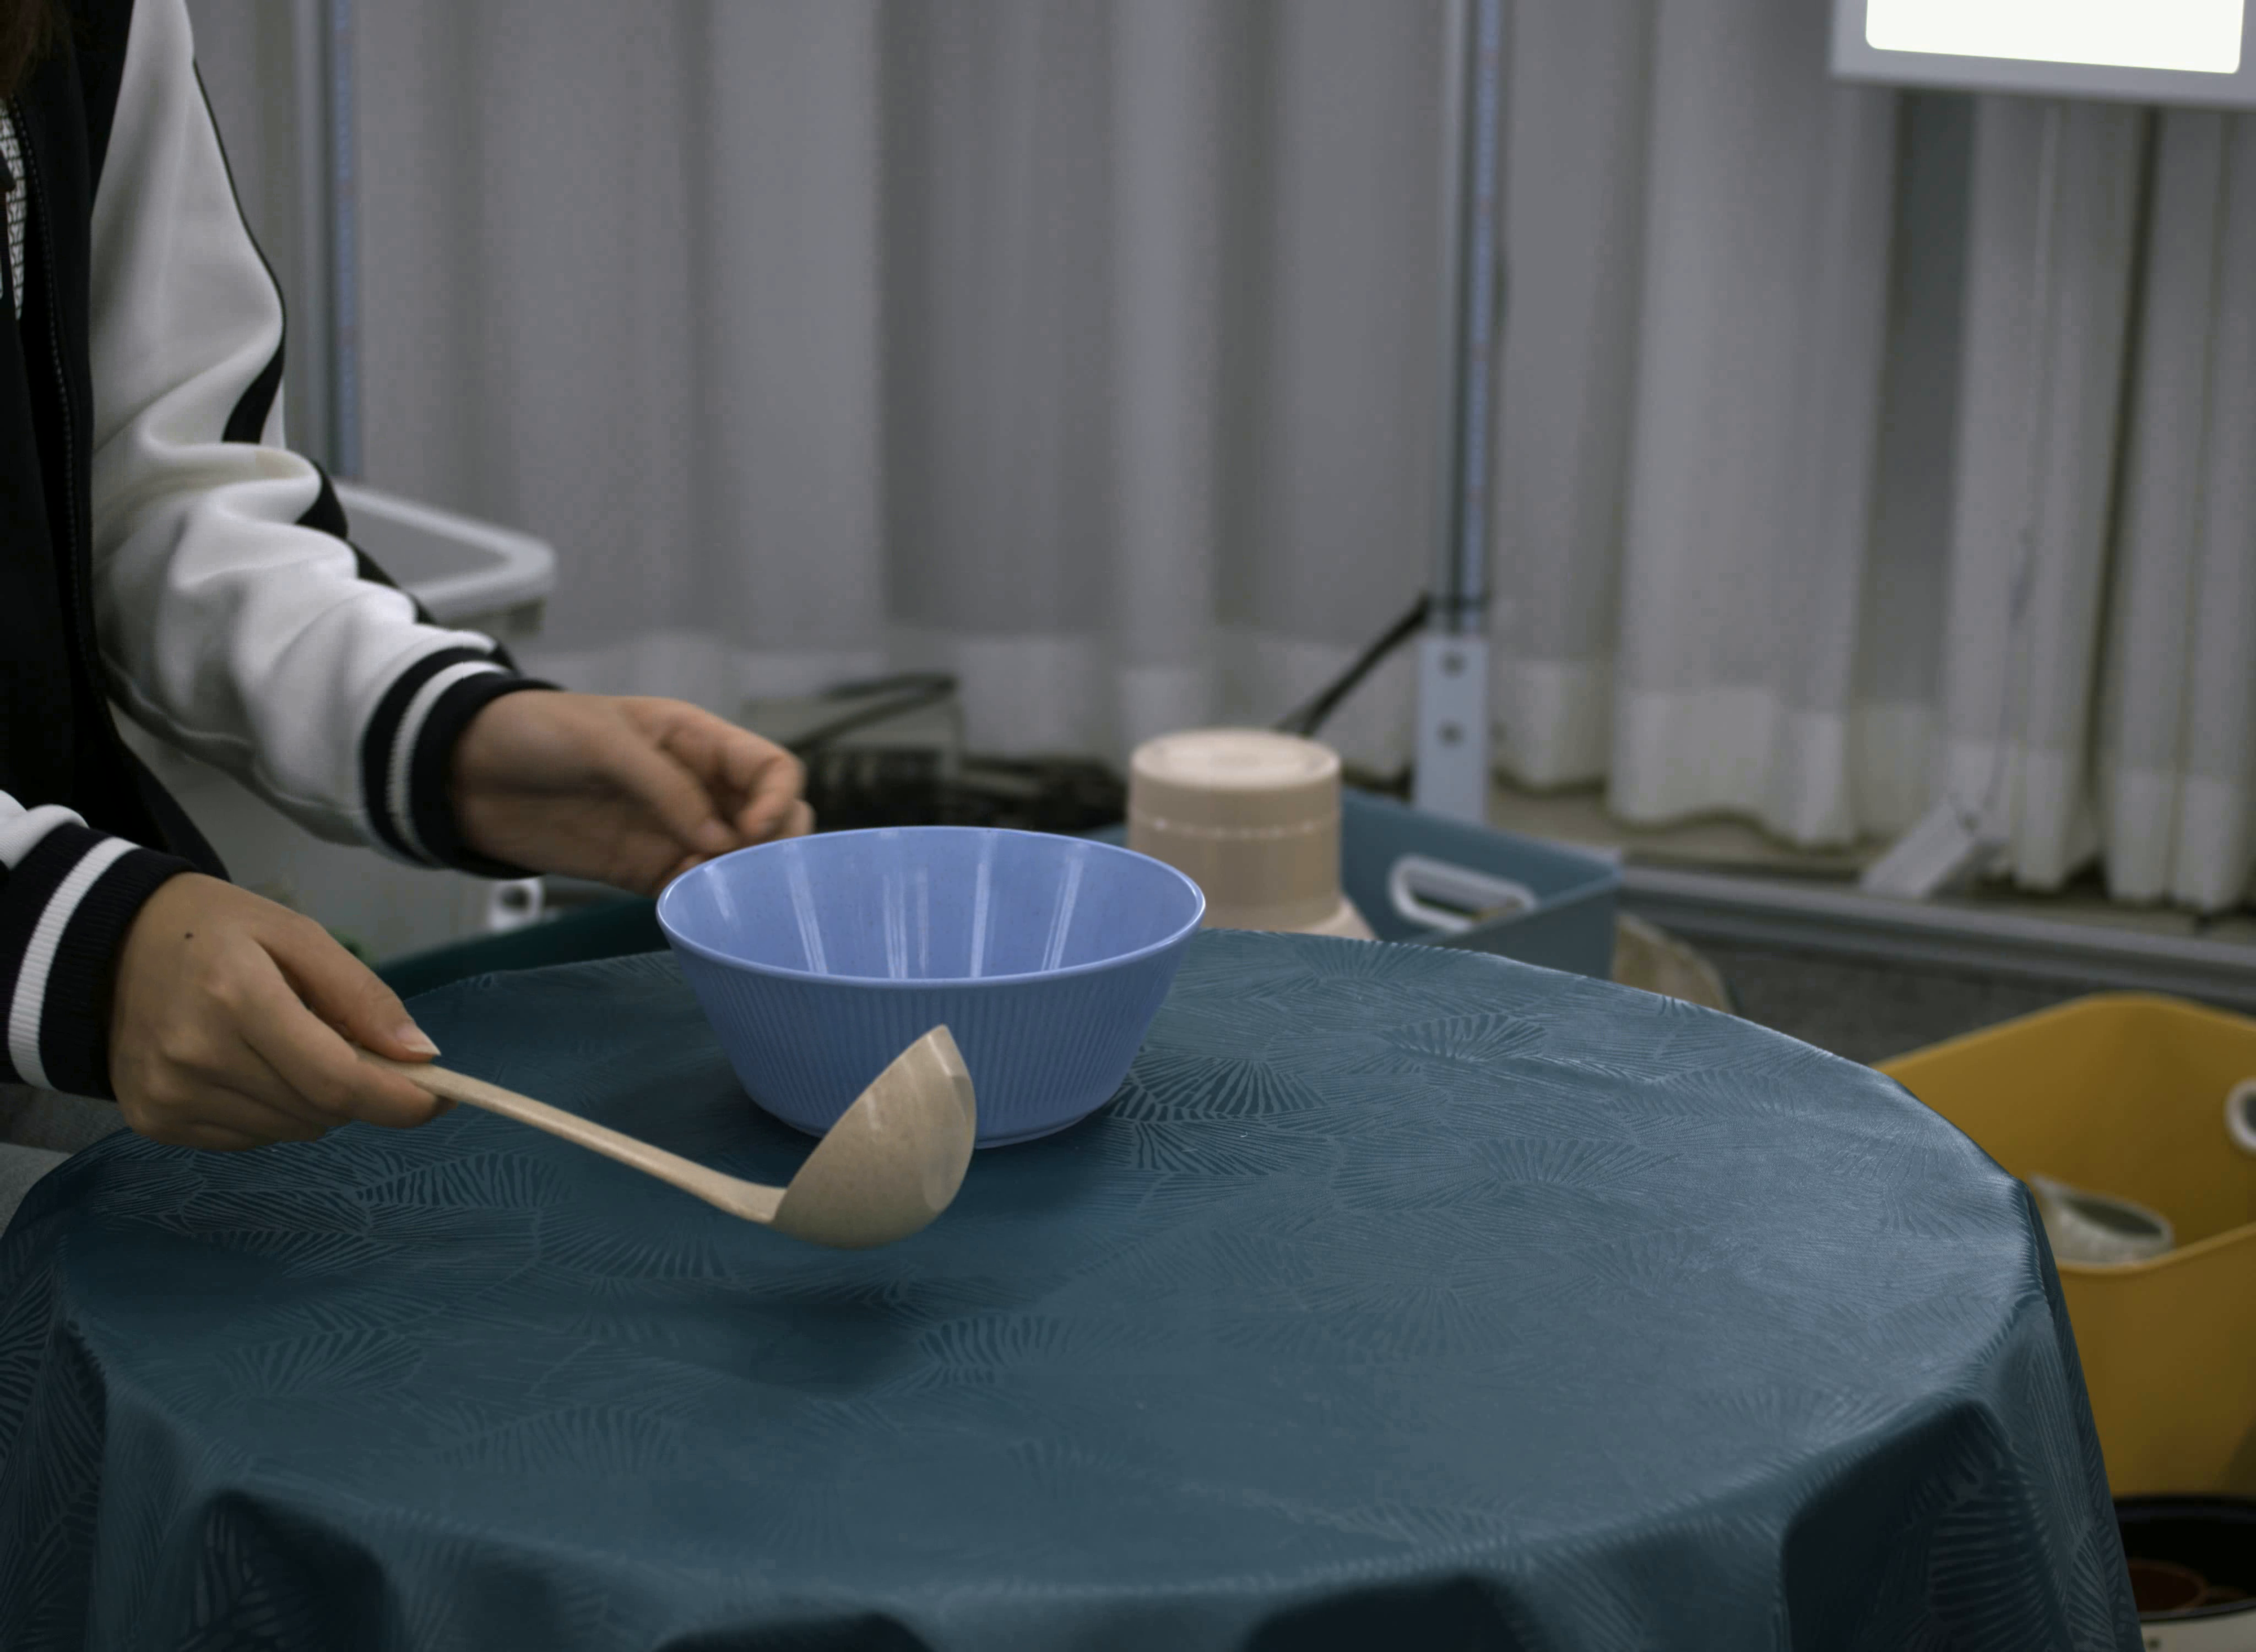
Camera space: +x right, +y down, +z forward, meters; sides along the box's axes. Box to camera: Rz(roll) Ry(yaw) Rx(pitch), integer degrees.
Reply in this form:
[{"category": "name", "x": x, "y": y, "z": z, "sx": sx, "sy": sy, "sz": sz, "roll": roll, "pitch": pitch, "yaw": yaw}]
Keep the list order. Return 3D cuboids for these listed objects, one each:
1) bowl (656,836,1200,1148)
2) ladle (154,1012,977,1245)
[{"category": "bowl", "x": -0.064, "y": 0.055, "z": 1.693, "sx": 0.175, "sy": 0.071, "sz": 0.175, "roll": 1, "pitch": 15, "yaw": 0}, {"category": "ladle", "x": -0.167, "y": 0.060, "z": 1.534, "sx": 0.252, "sy": 0.073, "sz": 0.072, "roll": 15, "pitch": 18, "yaw": 14}]
